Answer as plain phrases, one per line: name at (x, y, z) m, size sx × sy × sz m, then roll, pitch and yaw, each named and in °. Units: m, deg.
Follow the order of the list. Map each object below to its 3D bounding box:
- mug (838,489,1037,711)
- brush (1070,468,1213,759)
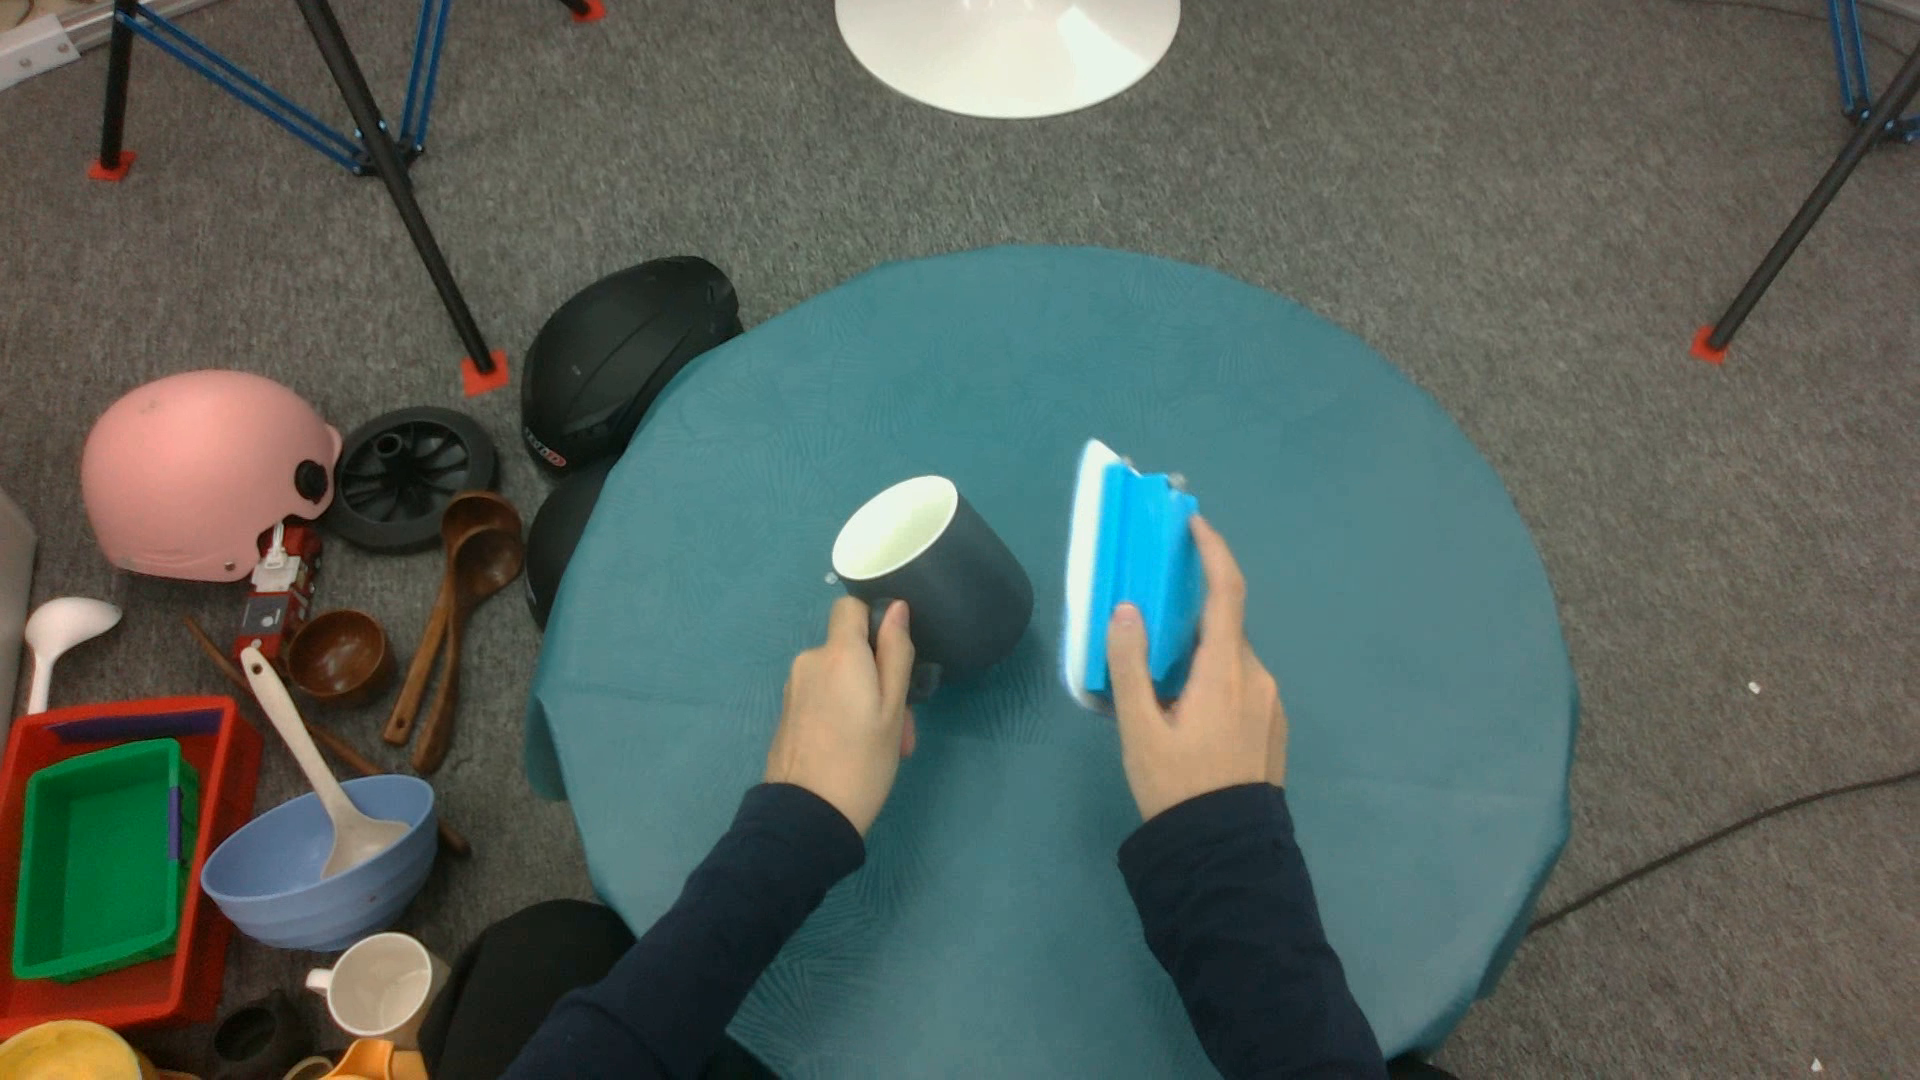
mug at (-0.018, 0.040, 0.769) m, size 0.093 × 0.089 × 0.124 m, roll -14°, pitch 34°, yaw 32°
brush at (0.100, 0.035, 0.701) m, size 0.056 × 0.084 × 0.144 m, roll -11°, pitch 62°, yaw 34°
